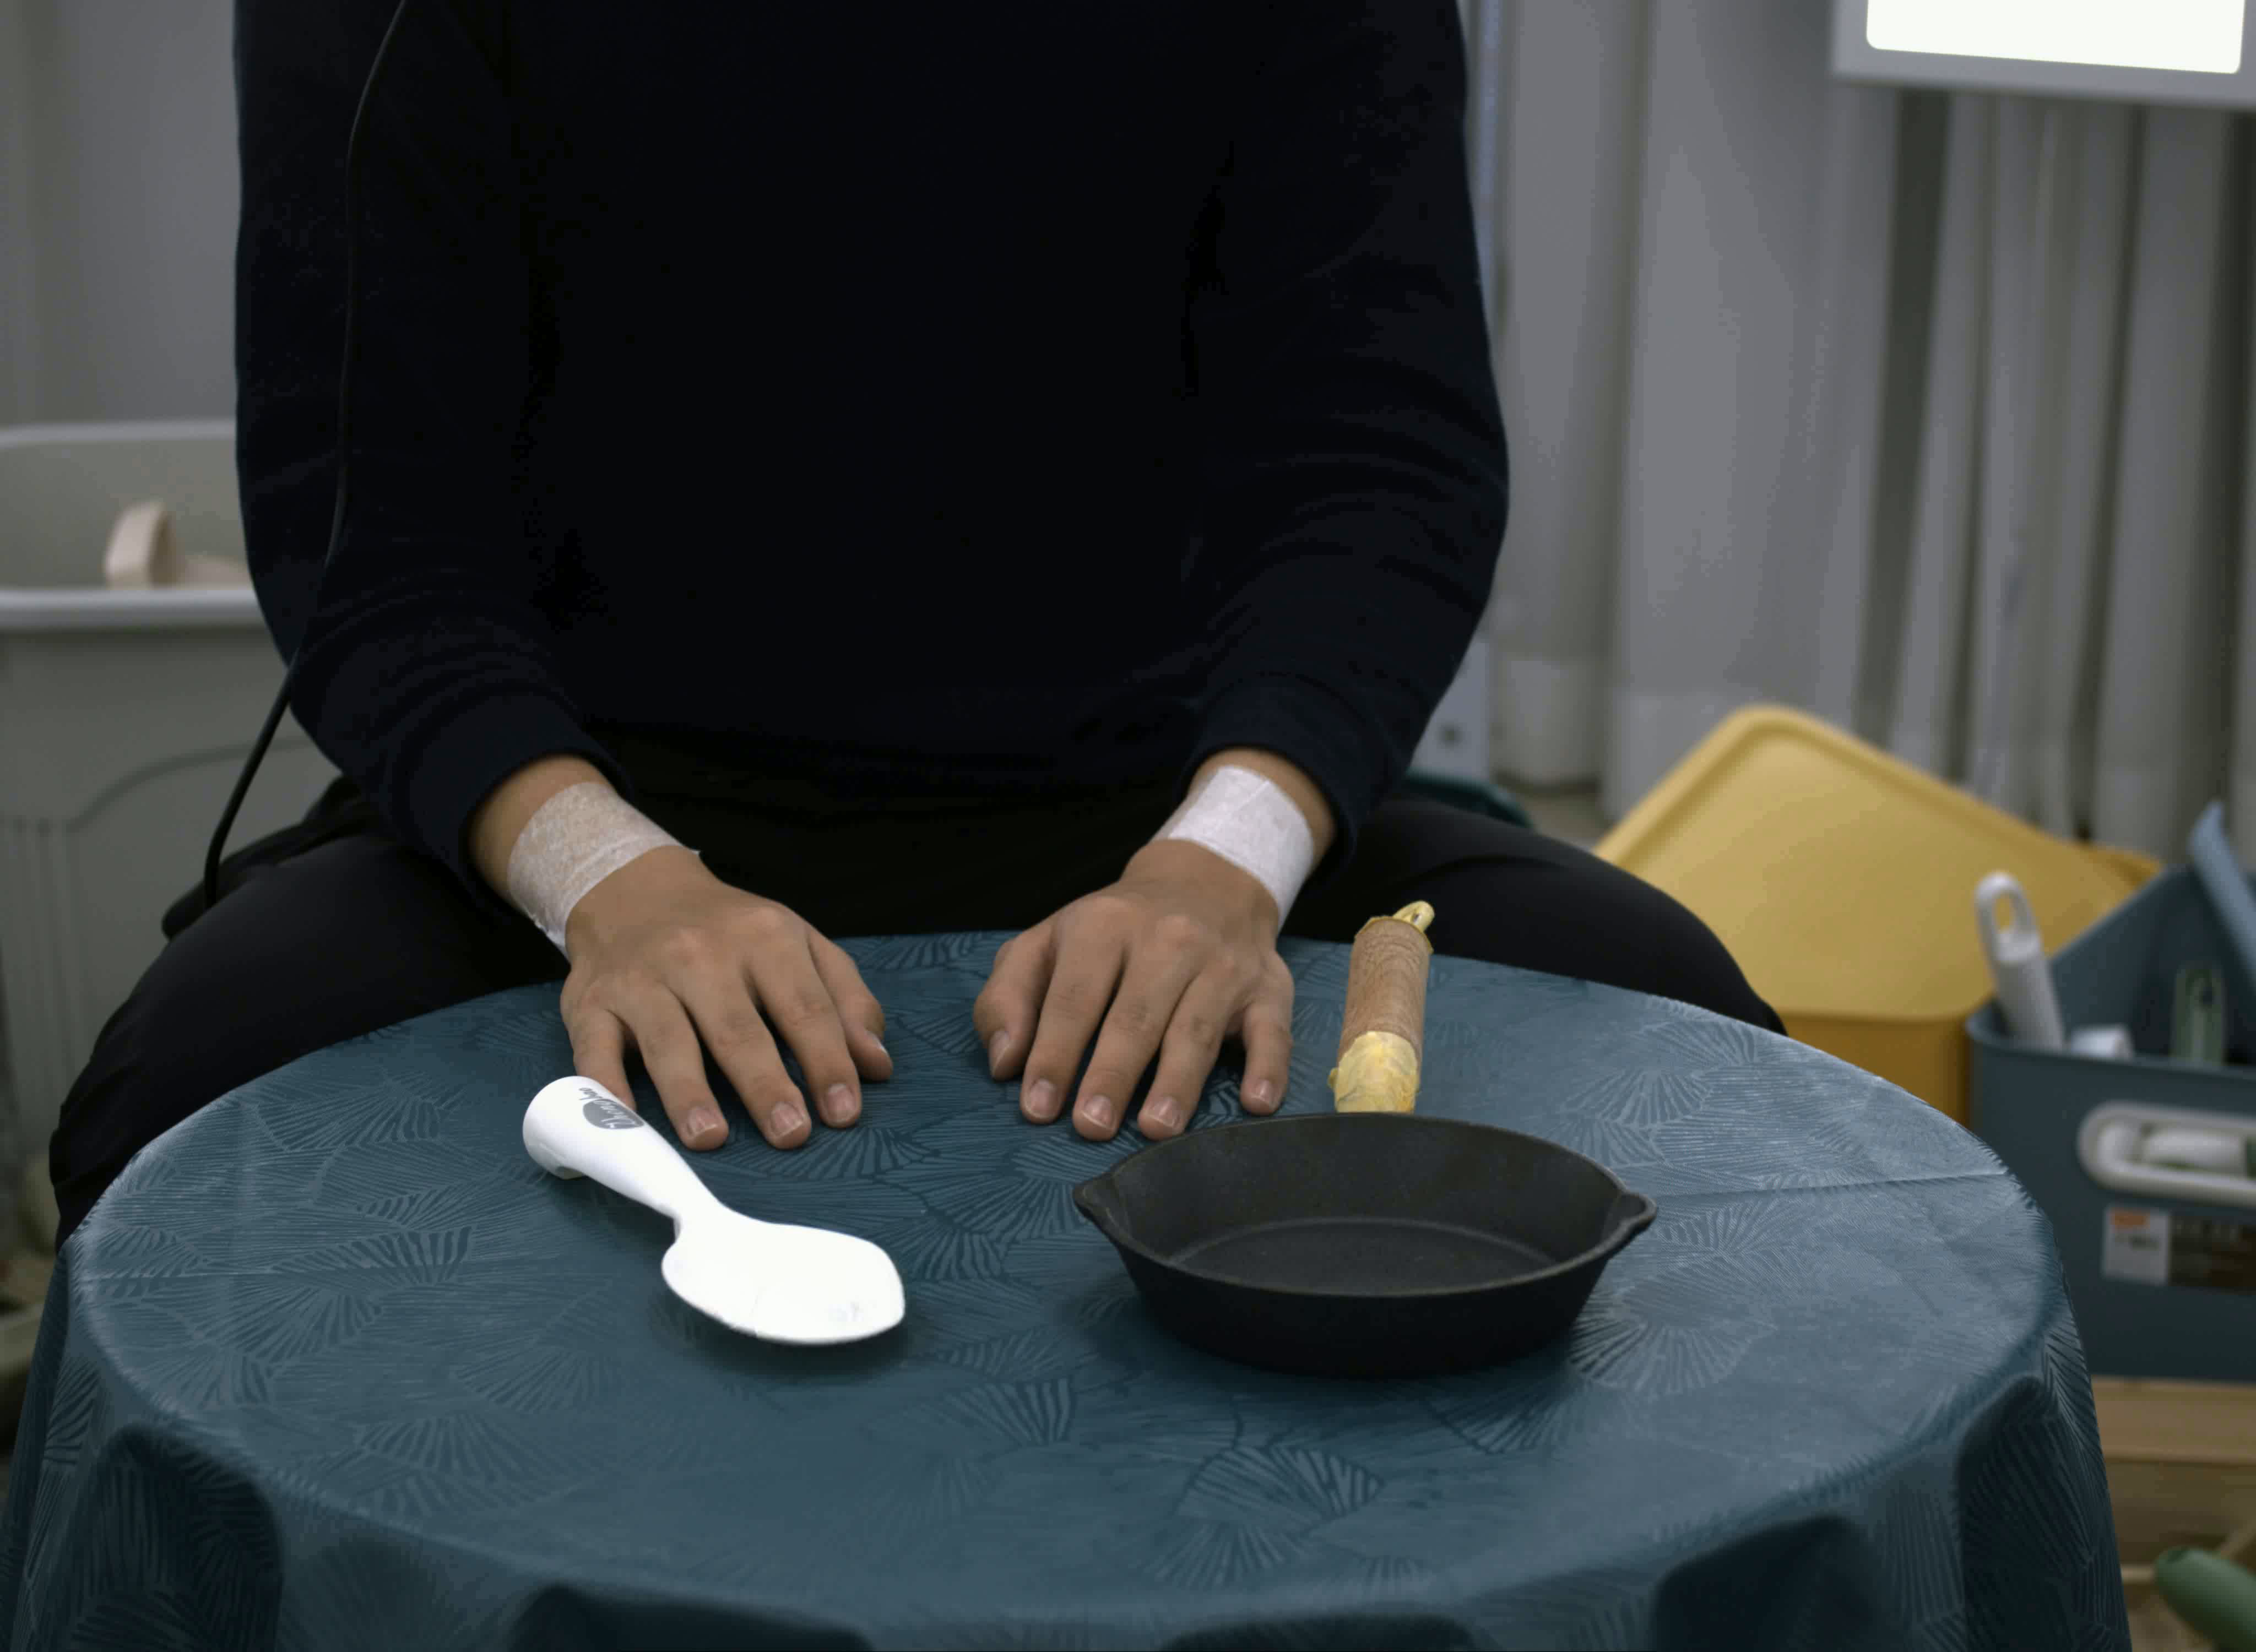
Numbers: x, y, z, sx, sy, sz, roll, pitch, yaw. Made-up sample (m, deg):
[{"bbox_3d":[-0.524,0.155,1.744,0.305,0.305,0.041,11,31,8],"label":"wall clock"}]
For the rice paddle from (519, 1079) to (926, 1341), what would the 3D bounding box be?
[{"bbox_3d":[-0.124,0.115,1.554,0.069,0.029,0.202,-11,19,-29],"label":"rice paddle"}]

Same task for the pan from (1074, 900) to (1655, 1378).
[{"bbox_3d":[0.077,0.092,1.605,0.168,0.050,0.323,2,17,6],"label":"pan"}]
